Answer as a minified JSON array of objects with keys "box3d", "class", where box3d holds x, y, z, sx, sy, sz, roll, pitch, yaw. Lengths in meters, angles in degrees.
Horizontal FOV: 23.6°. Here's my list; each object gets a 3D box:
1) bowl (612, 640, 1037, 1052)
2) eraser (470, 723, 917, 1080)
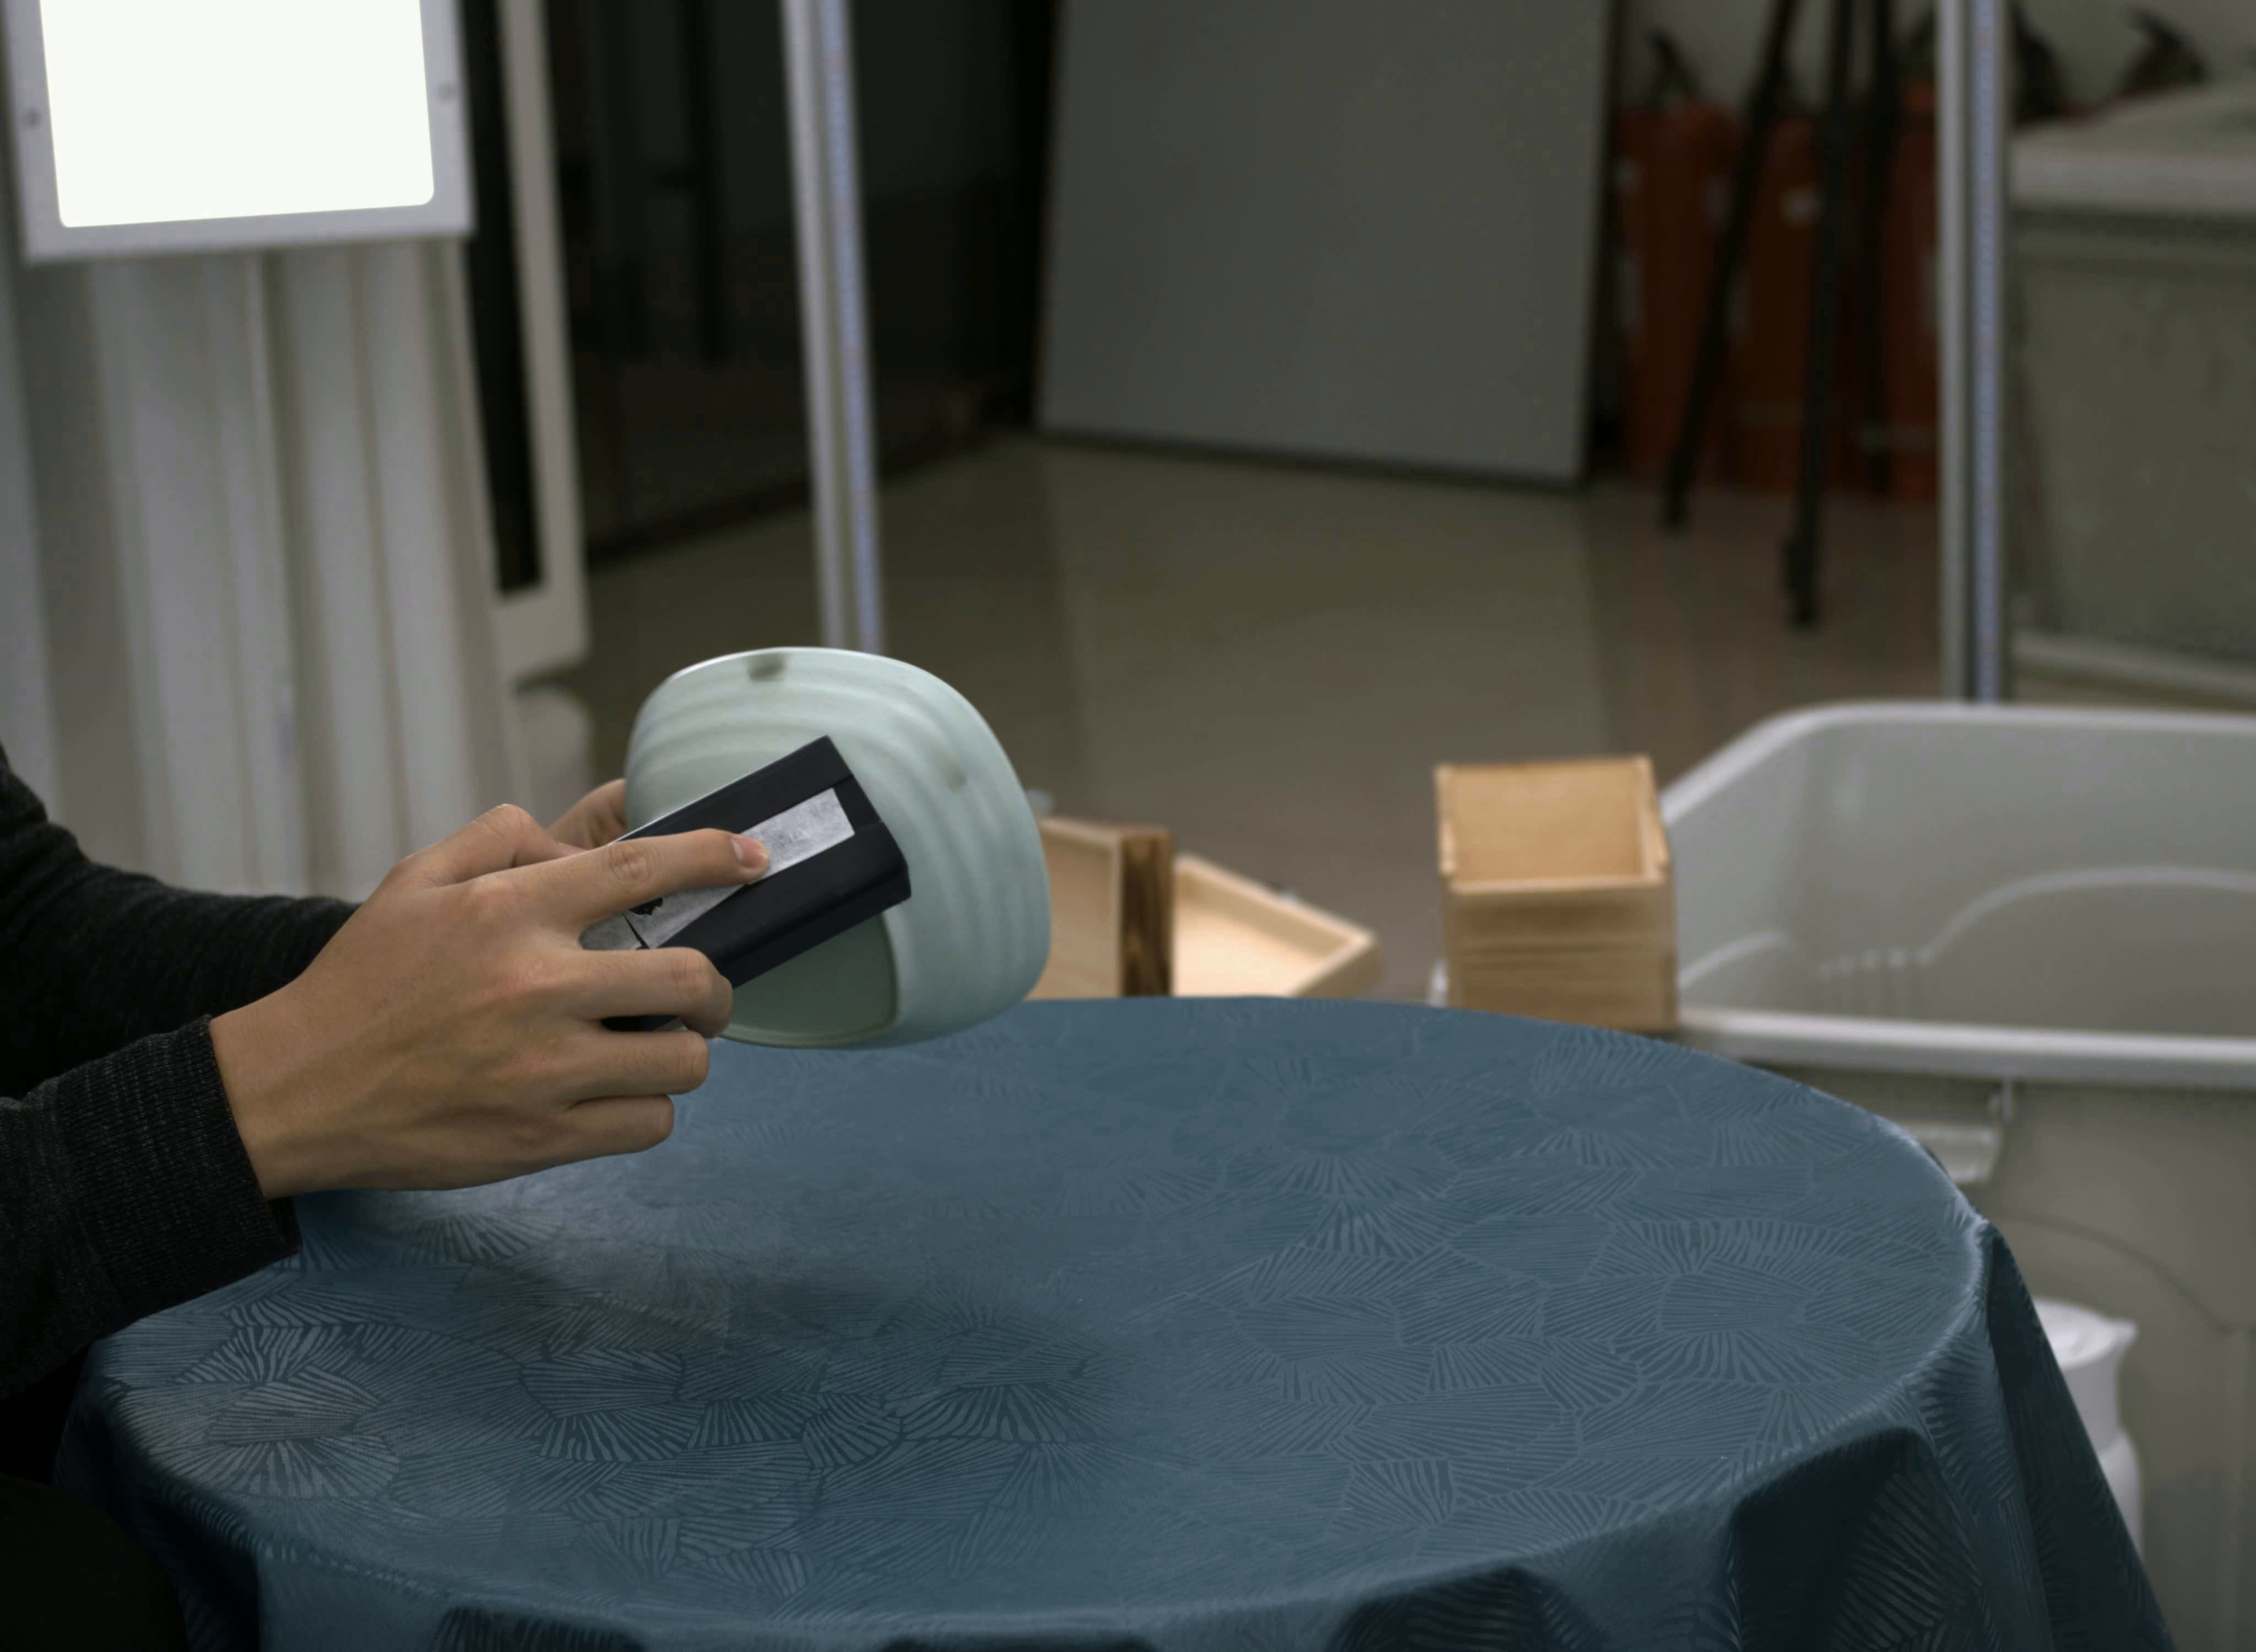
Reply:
[{"box3d":[-0.103,0.018,1.661,0.152,0.152,0.058,4,31,27],"class":"bowl"},{"box3d":[-0.126,0.021,1.582,0.124,0.054,0.030,-29,-21,-15],"class":"eraser"}]
